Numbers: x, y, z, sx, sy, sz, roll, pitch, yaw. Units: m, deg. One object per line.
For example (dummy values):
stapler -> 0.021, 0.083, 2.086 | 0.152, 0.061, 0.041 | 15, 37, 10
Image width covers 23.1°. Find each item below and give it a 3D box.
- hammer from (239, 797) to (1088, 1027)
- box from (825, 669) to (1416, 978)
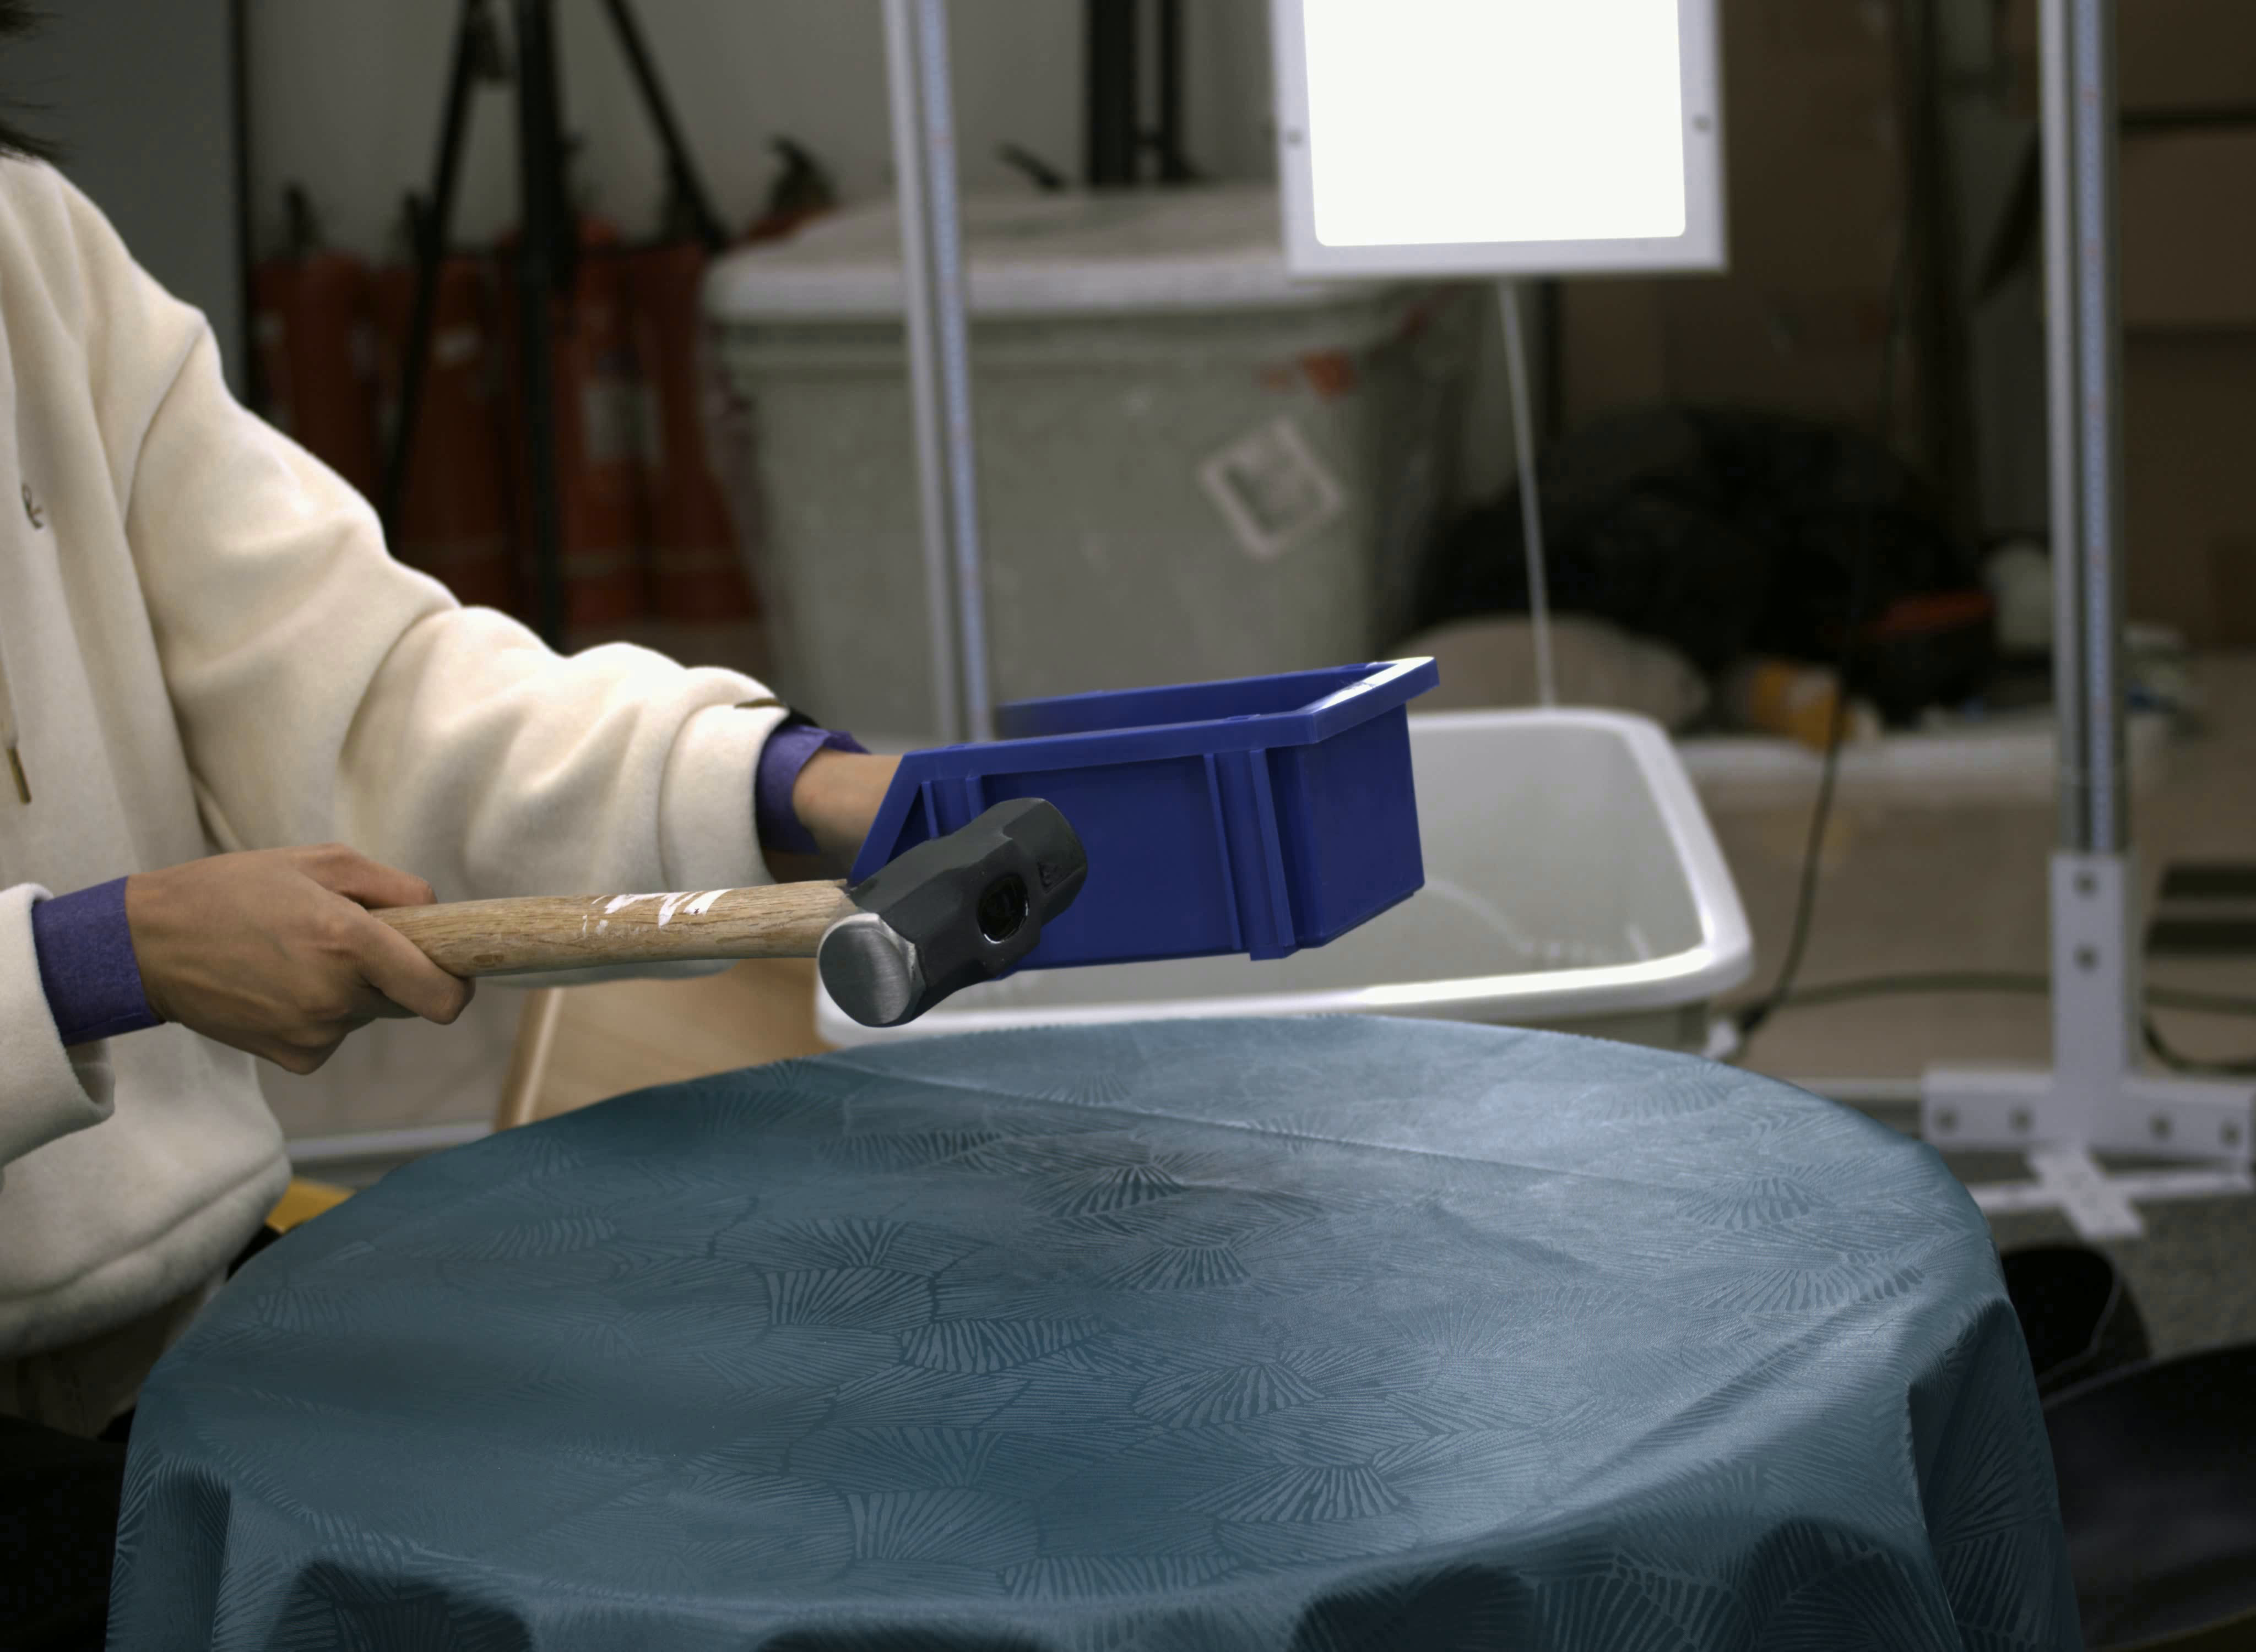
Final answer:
hammer -> -0.164, 0.031, 1.770 | 0.312, 0.038, 0.105 | -3, 19, 36
box -> -0.003, 0.000, 1.878 | 0.182, 0.082, 0.122 | -2, 10, 27
